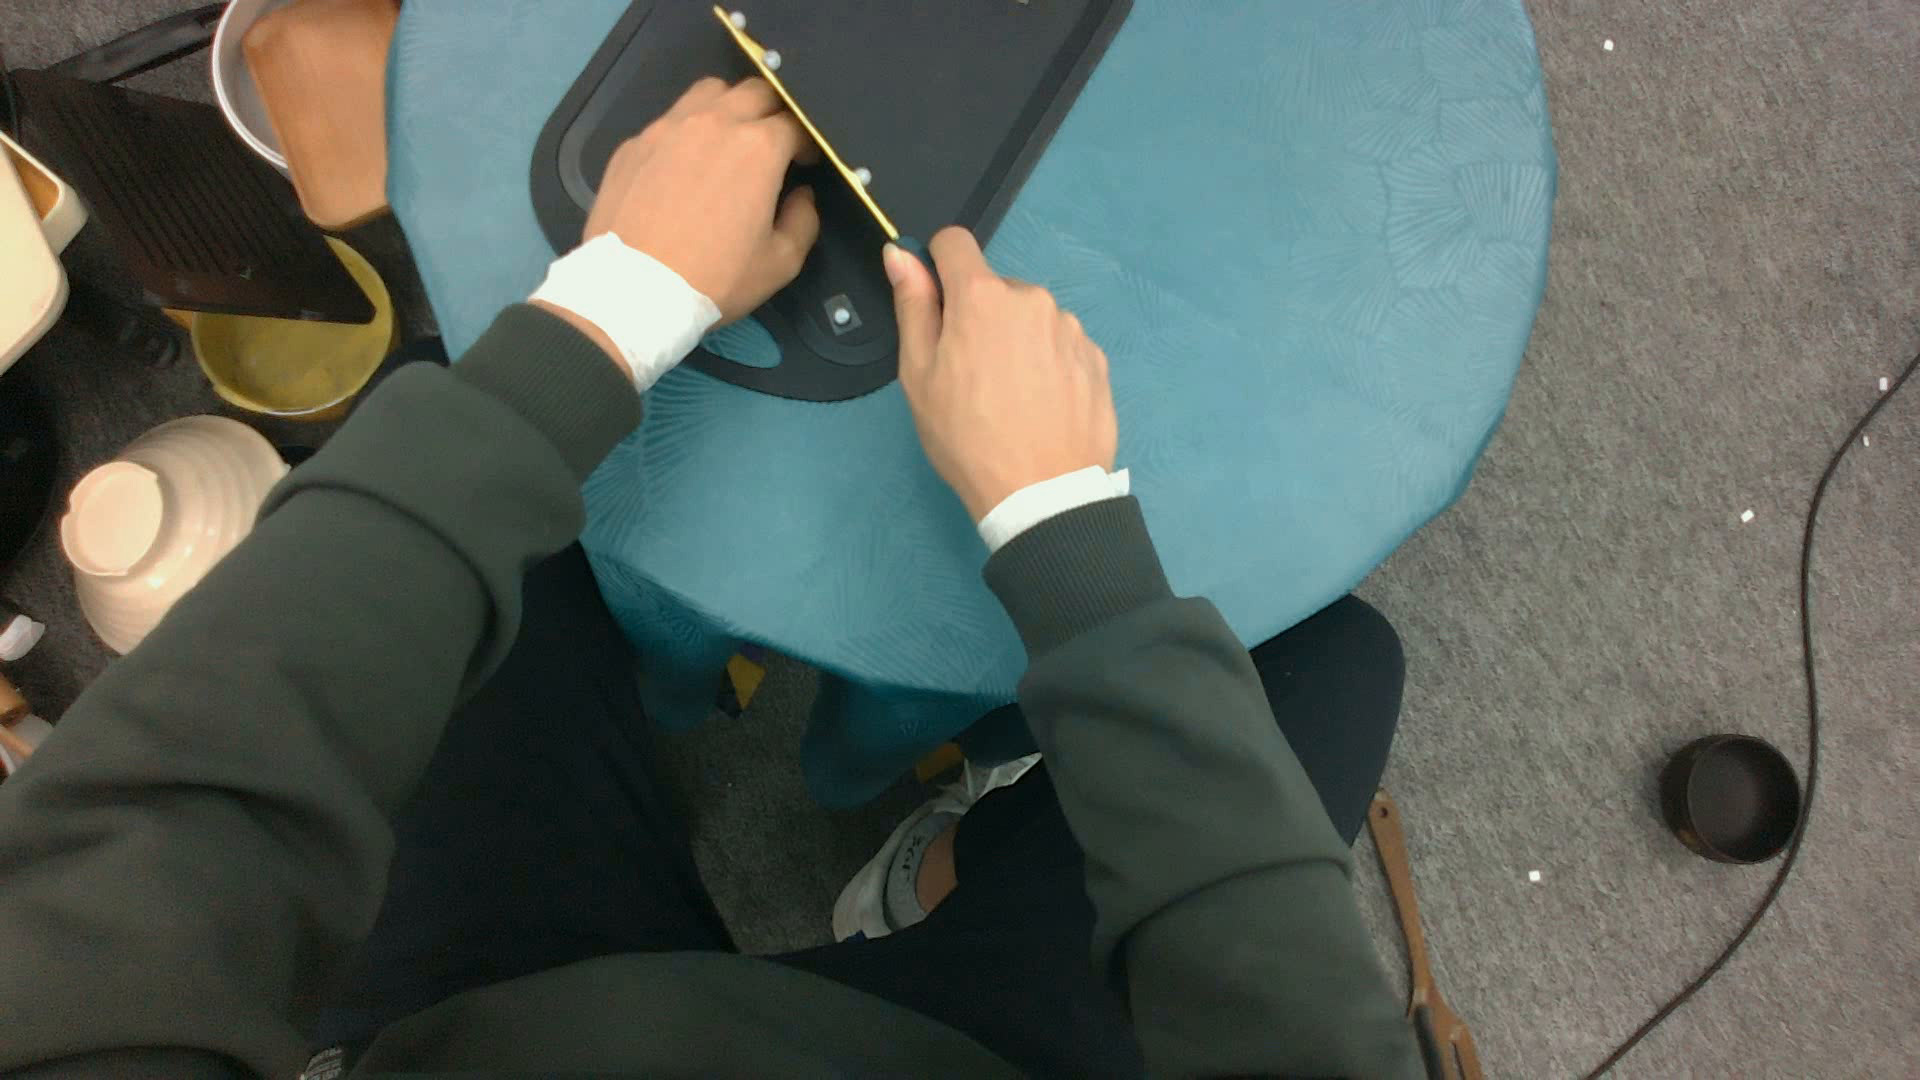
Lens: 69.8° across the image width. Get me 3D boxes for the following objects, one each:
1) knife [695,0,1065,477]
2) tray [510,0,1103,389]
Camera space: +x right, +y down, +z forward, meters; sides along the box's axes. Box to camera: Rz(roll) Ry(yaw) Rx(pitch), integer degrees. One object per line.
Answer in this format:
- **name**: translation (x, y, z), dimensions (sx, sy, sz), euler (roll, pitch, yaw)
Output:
- **knife**: translation (-0.042, -0.147, 0.644), dimensions (0.027, 0.081, 0.289), euler (-37, 84, 6)
- **tray**: translation (-0.072, -0.234, 0.690), dimensions (0.211, 0.010, 0.326), euler (31, 78, -4)
